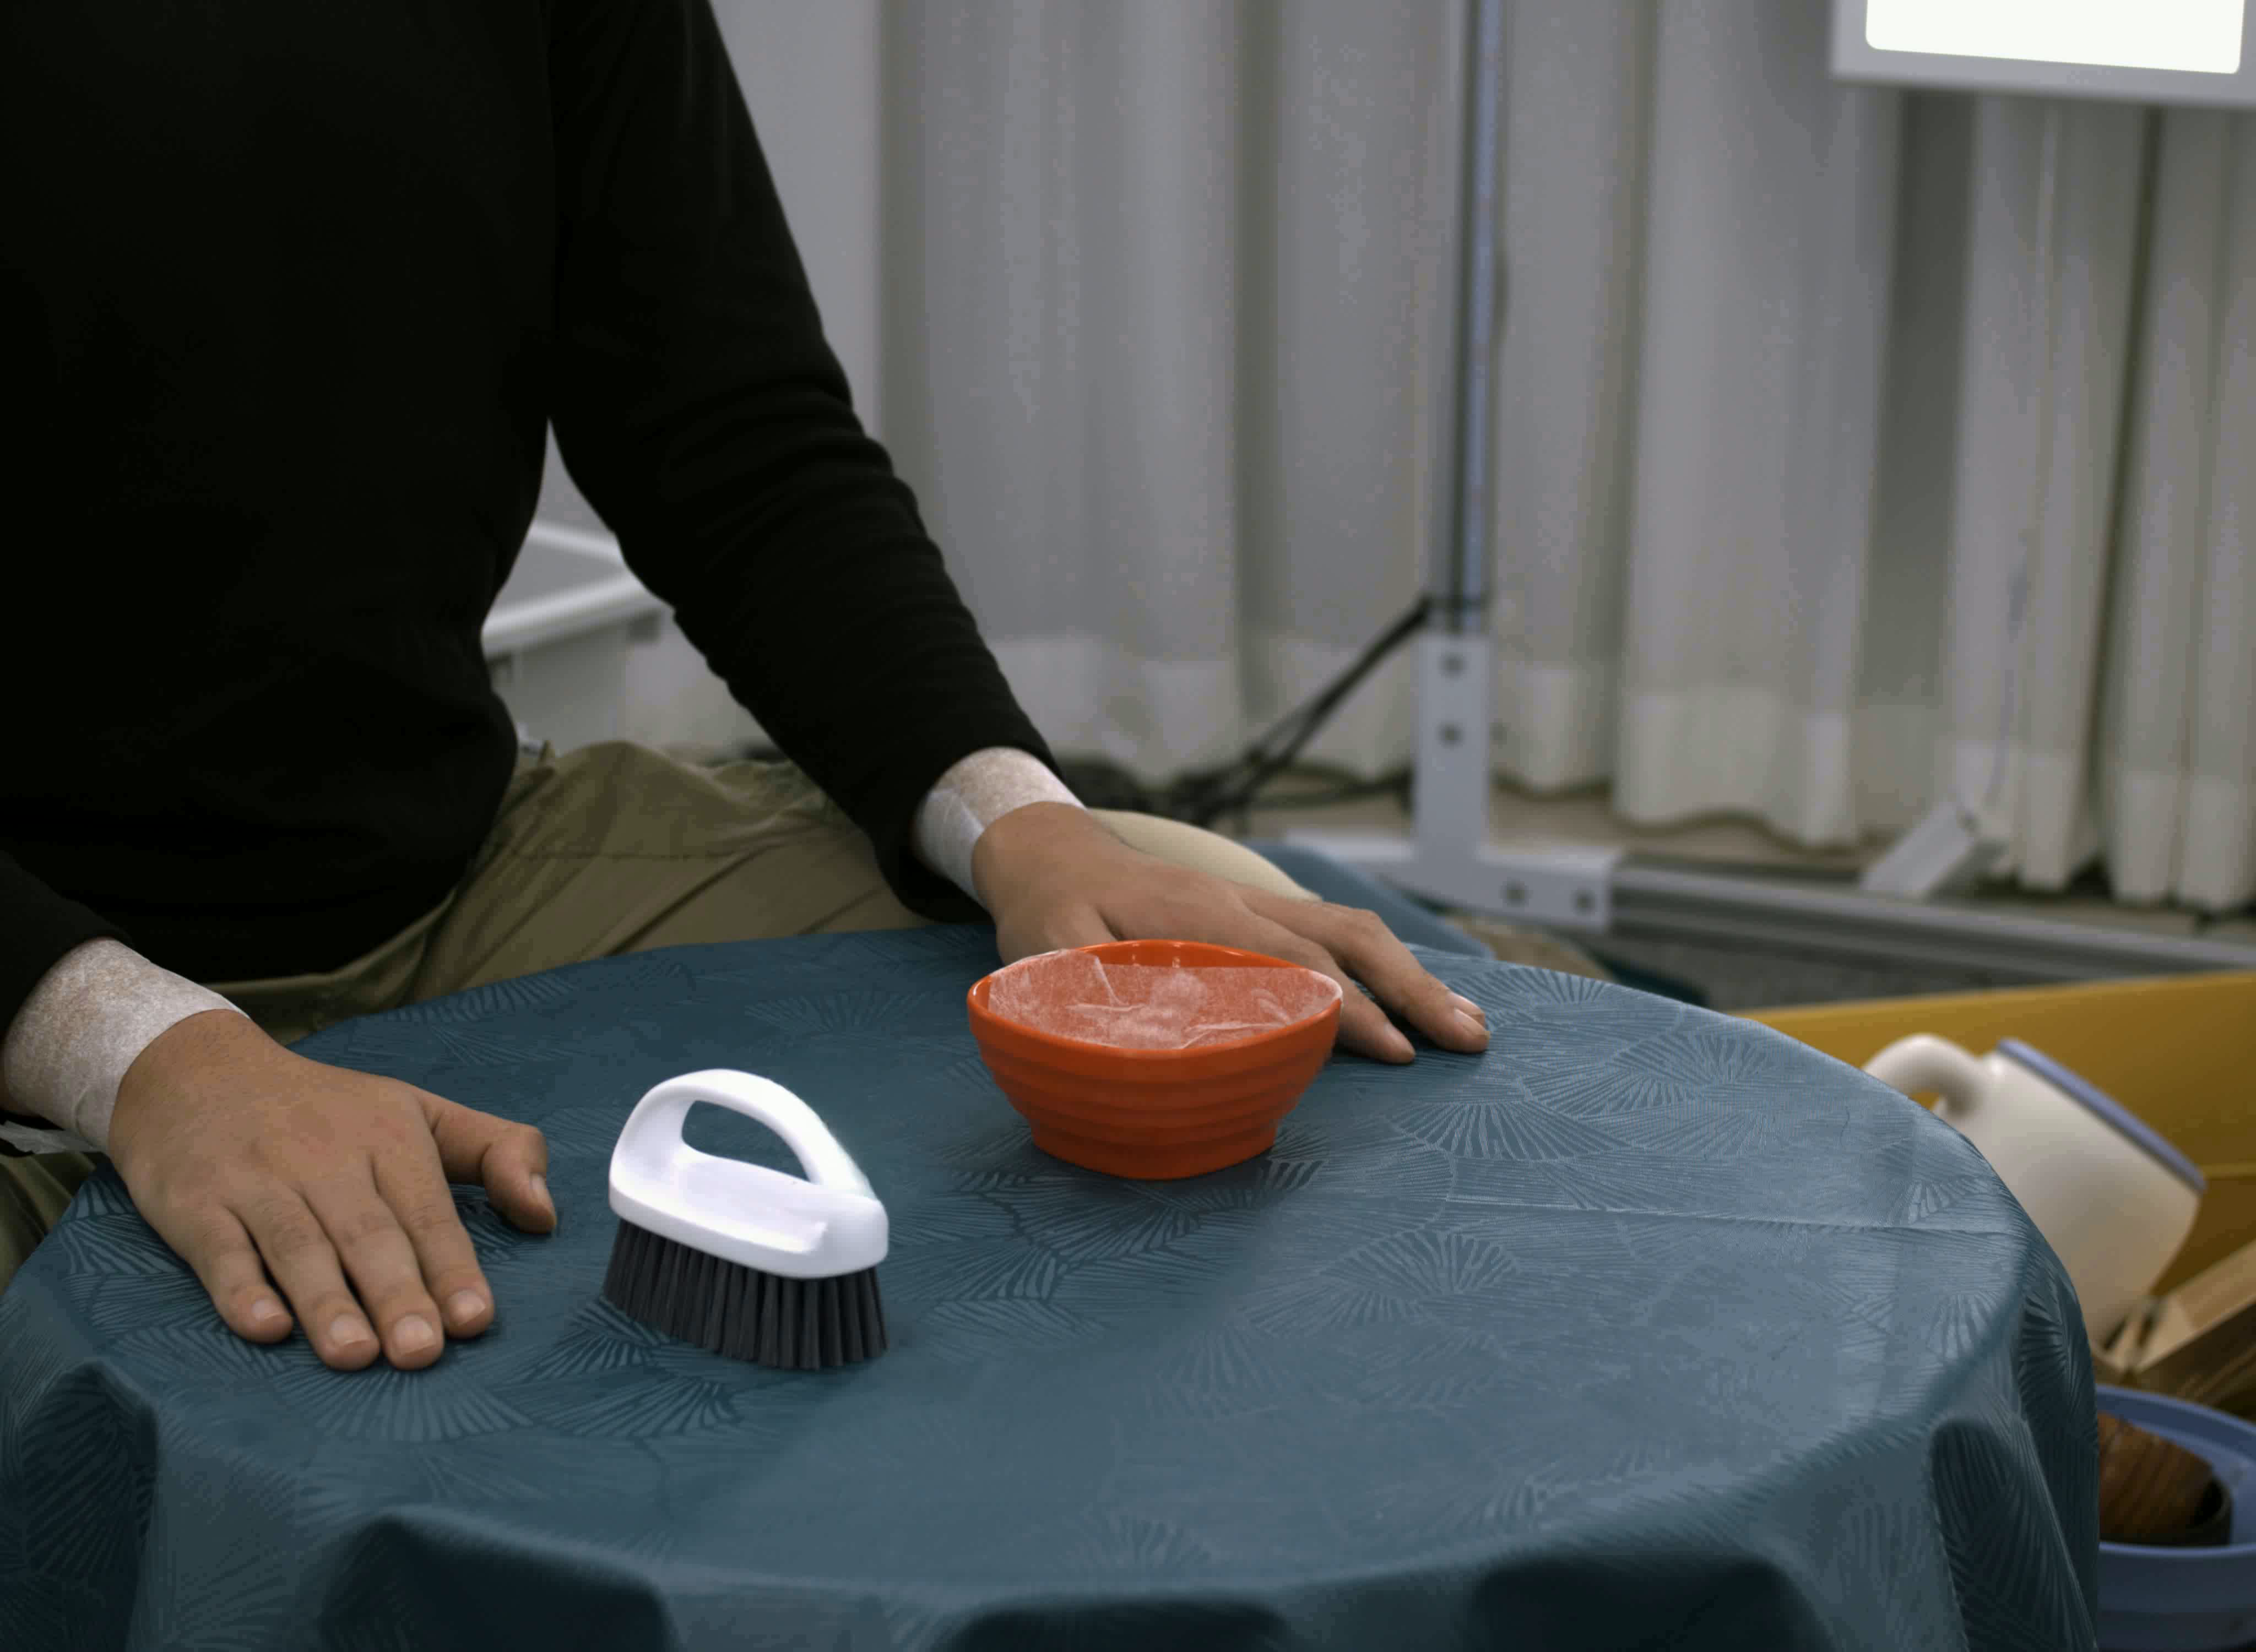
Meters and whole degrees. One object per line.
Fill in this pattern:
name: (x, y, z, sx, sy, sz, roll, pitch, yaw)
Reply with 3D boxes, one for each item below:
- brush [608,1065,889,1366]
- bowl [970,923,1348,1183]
brush: (-0.110, 0.106, 1.502, 0.050, 0.073, 0.098, -14, 21, -41)
bowl: (0.009, 0.074, 1.658, 0.118, 0.052, 0.118, 2, 20, 0)
